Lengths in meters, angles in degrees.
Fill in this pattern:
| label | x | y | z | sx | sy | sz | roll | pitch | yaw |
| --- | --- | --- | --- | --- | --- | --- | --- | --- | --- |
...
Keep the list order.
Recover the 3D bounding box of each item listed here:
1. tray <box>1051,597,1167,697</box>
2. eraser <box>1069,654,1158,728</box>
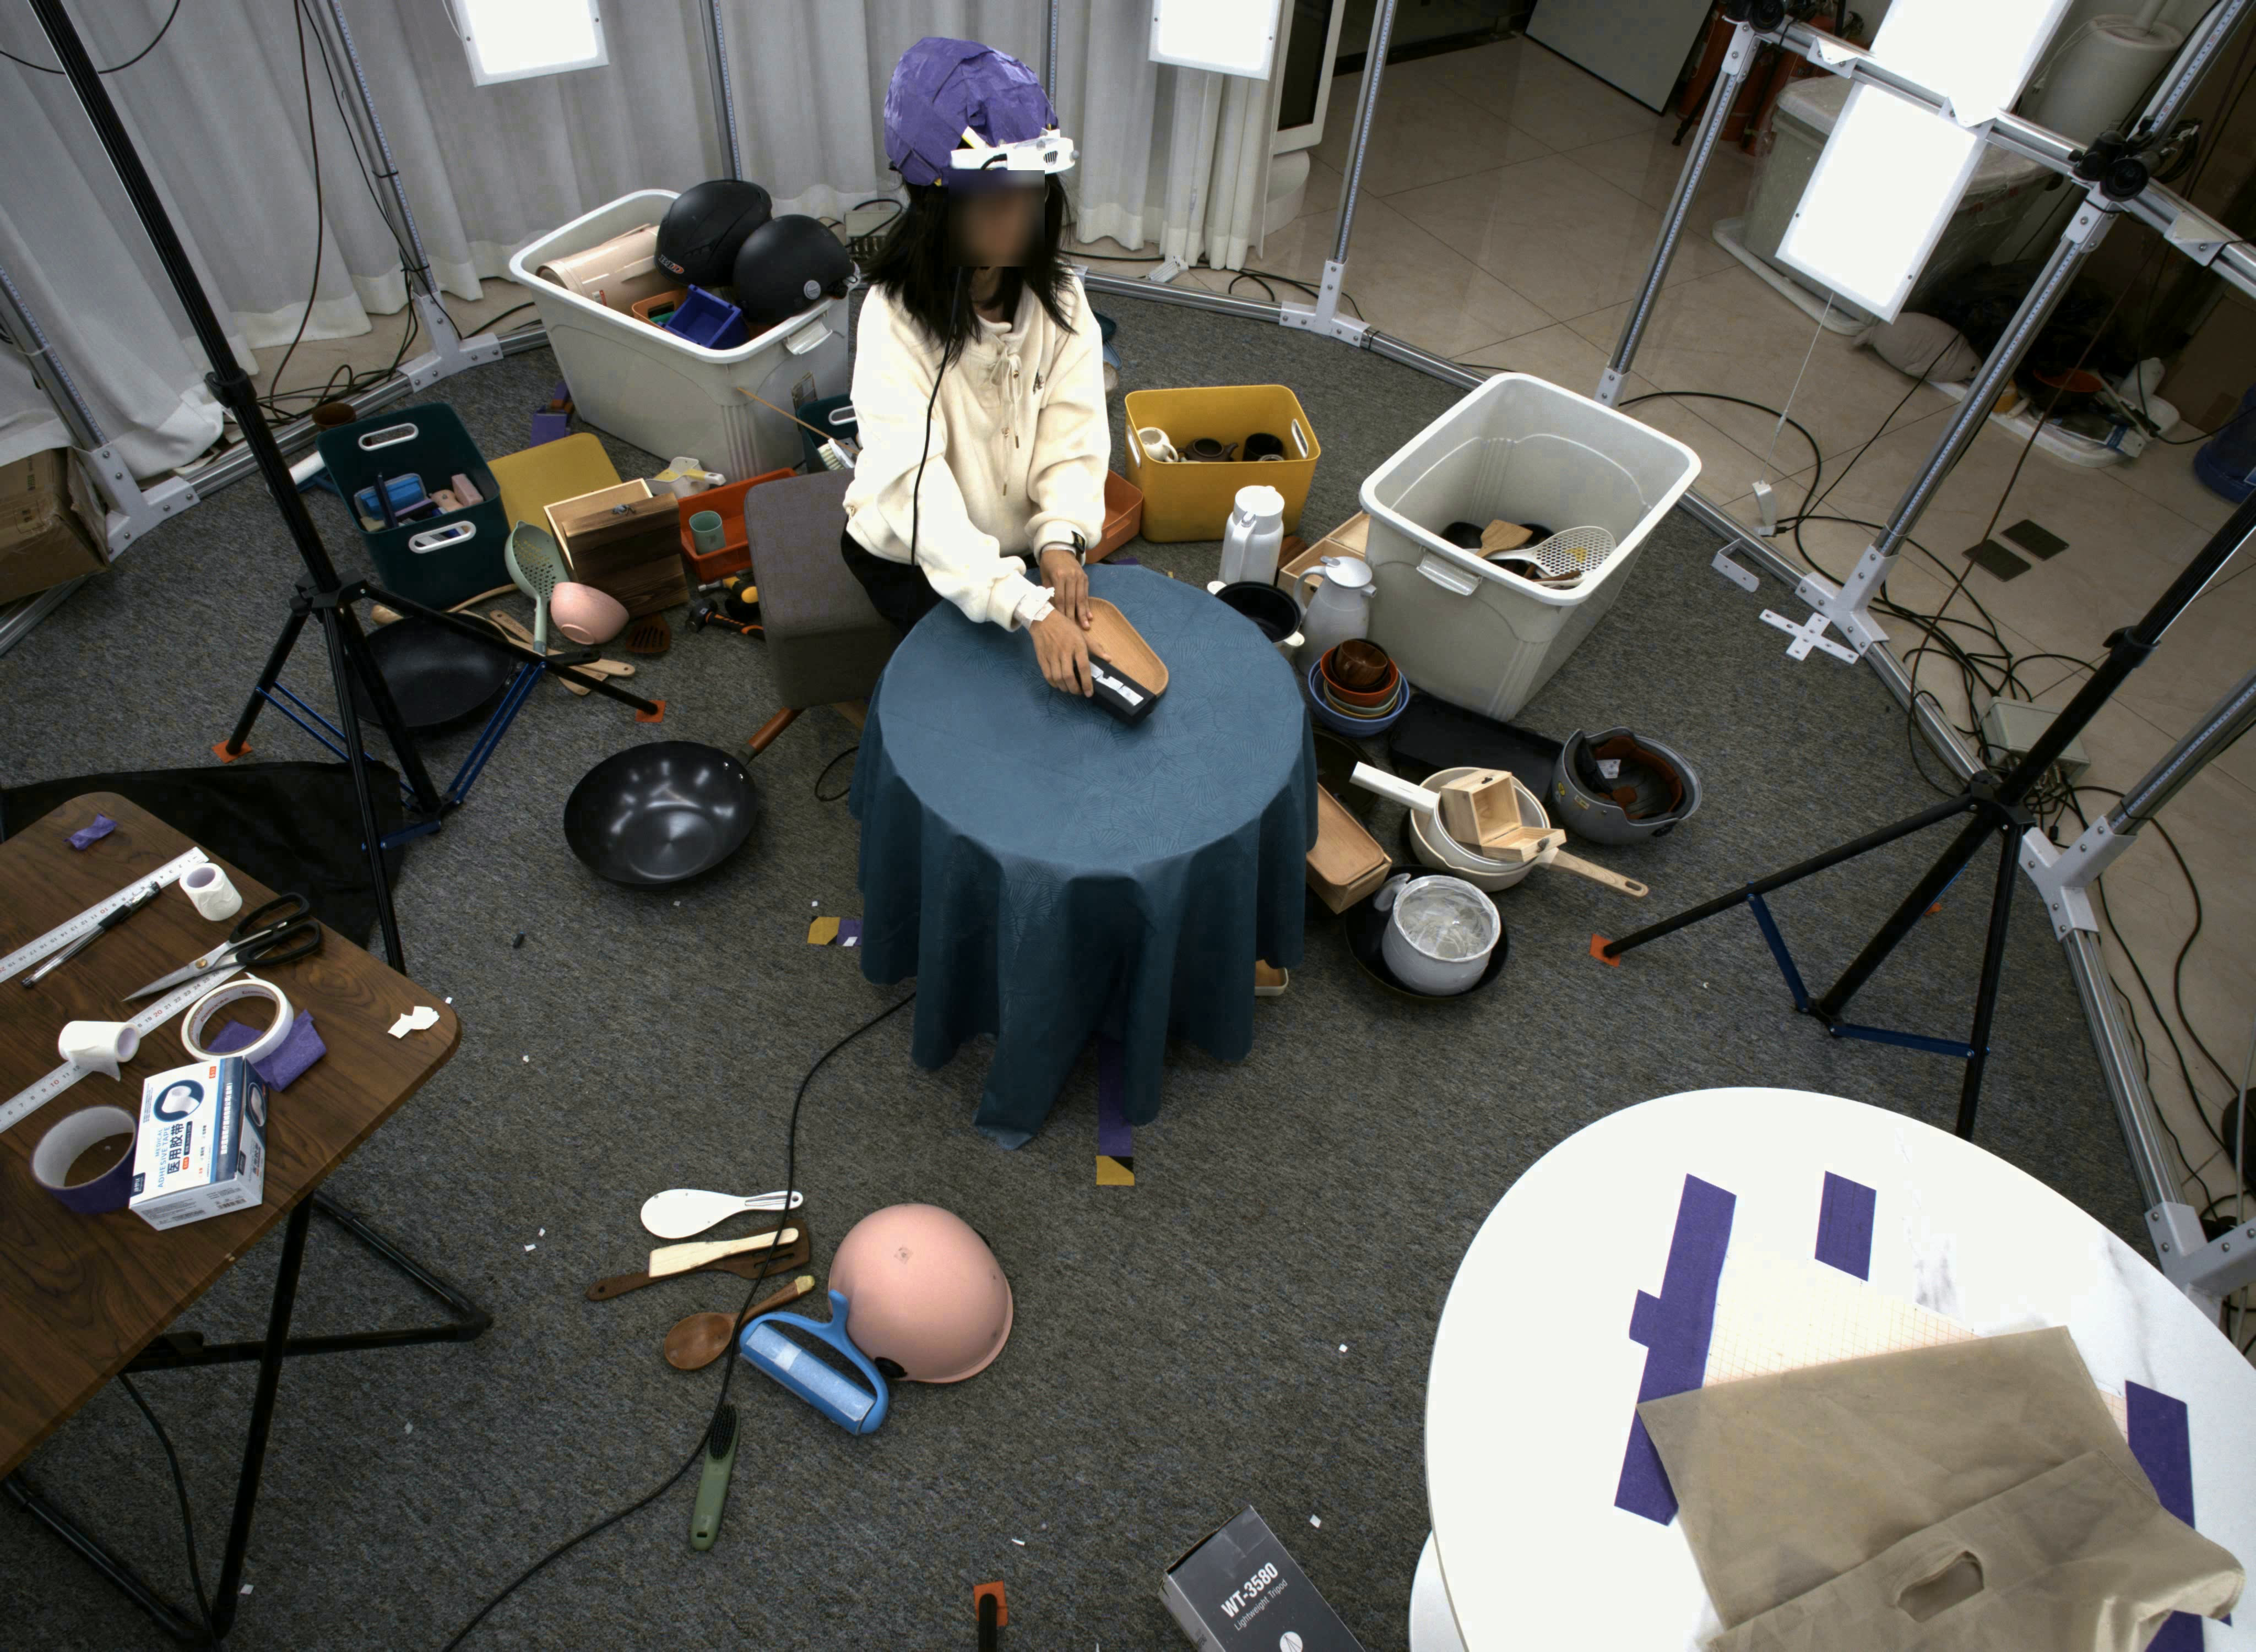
| label | x | y | z | sx | sy | sz | roll | pitch | yaw |
| --- | --- | --- | --- | --- | --- | --- | --- | --- | --- |
| tray | -0.029 | -0.260 | 1.883 | 0.102 | 0.020 | 0.236 | -23 | 53 | -22 |
| eraser | -0.021 | -0.190 | 1.798 | 0.127 | 0.030 | 0.054 | 36 | 59 | 23 |
